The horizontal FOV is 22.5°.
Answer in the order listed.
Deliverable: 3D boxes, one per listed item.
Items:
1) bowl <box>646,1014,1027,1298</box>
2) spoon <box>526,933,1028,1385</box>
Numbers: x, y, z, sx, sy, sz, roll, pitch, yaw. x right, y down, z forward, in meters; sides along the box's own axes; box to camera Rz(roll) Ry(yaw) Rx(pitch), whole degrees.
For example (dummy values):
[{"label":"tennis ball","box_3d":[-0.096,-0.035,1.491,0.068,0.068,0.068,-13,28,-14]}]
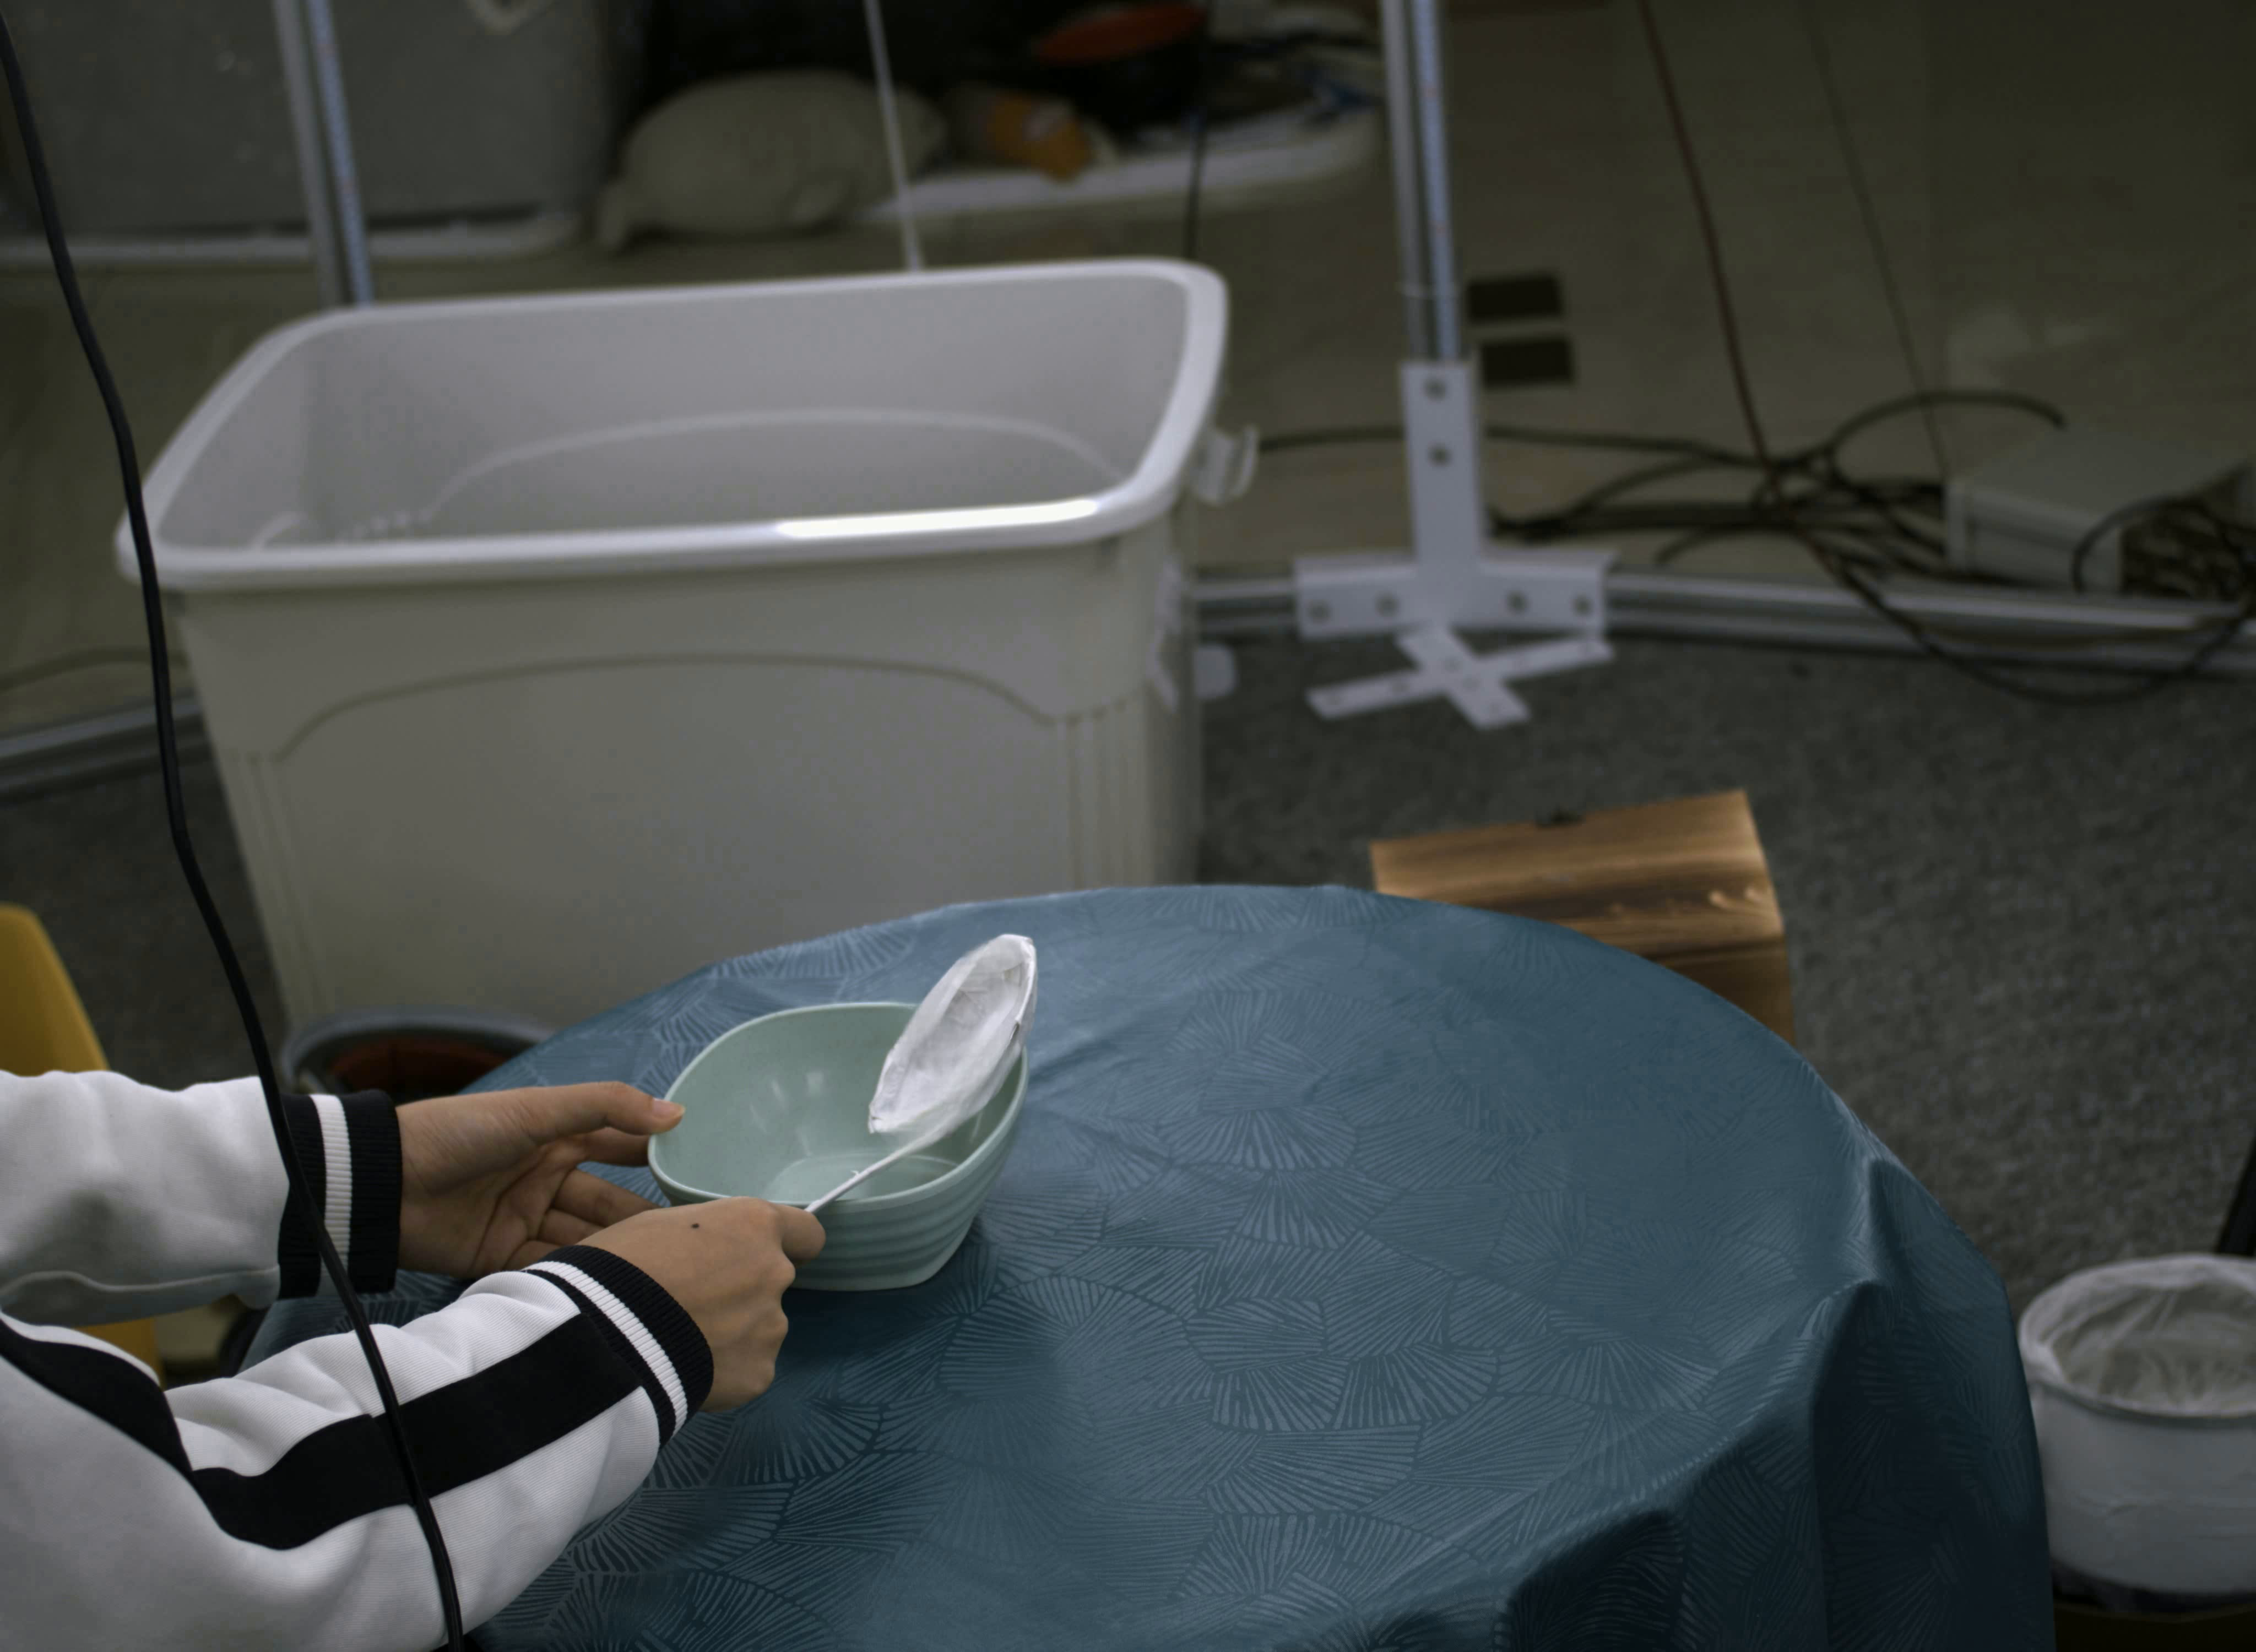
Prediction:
[{"label":"bowl","box_3d":[-0.105,0.130,2.122,0.151,0.059,0.149,-6,29,4]},{"label":"spoon","box_3d":[-0.131,0.119,2.043,0.275,0.059,0.102,-30,-4,-41]}]
